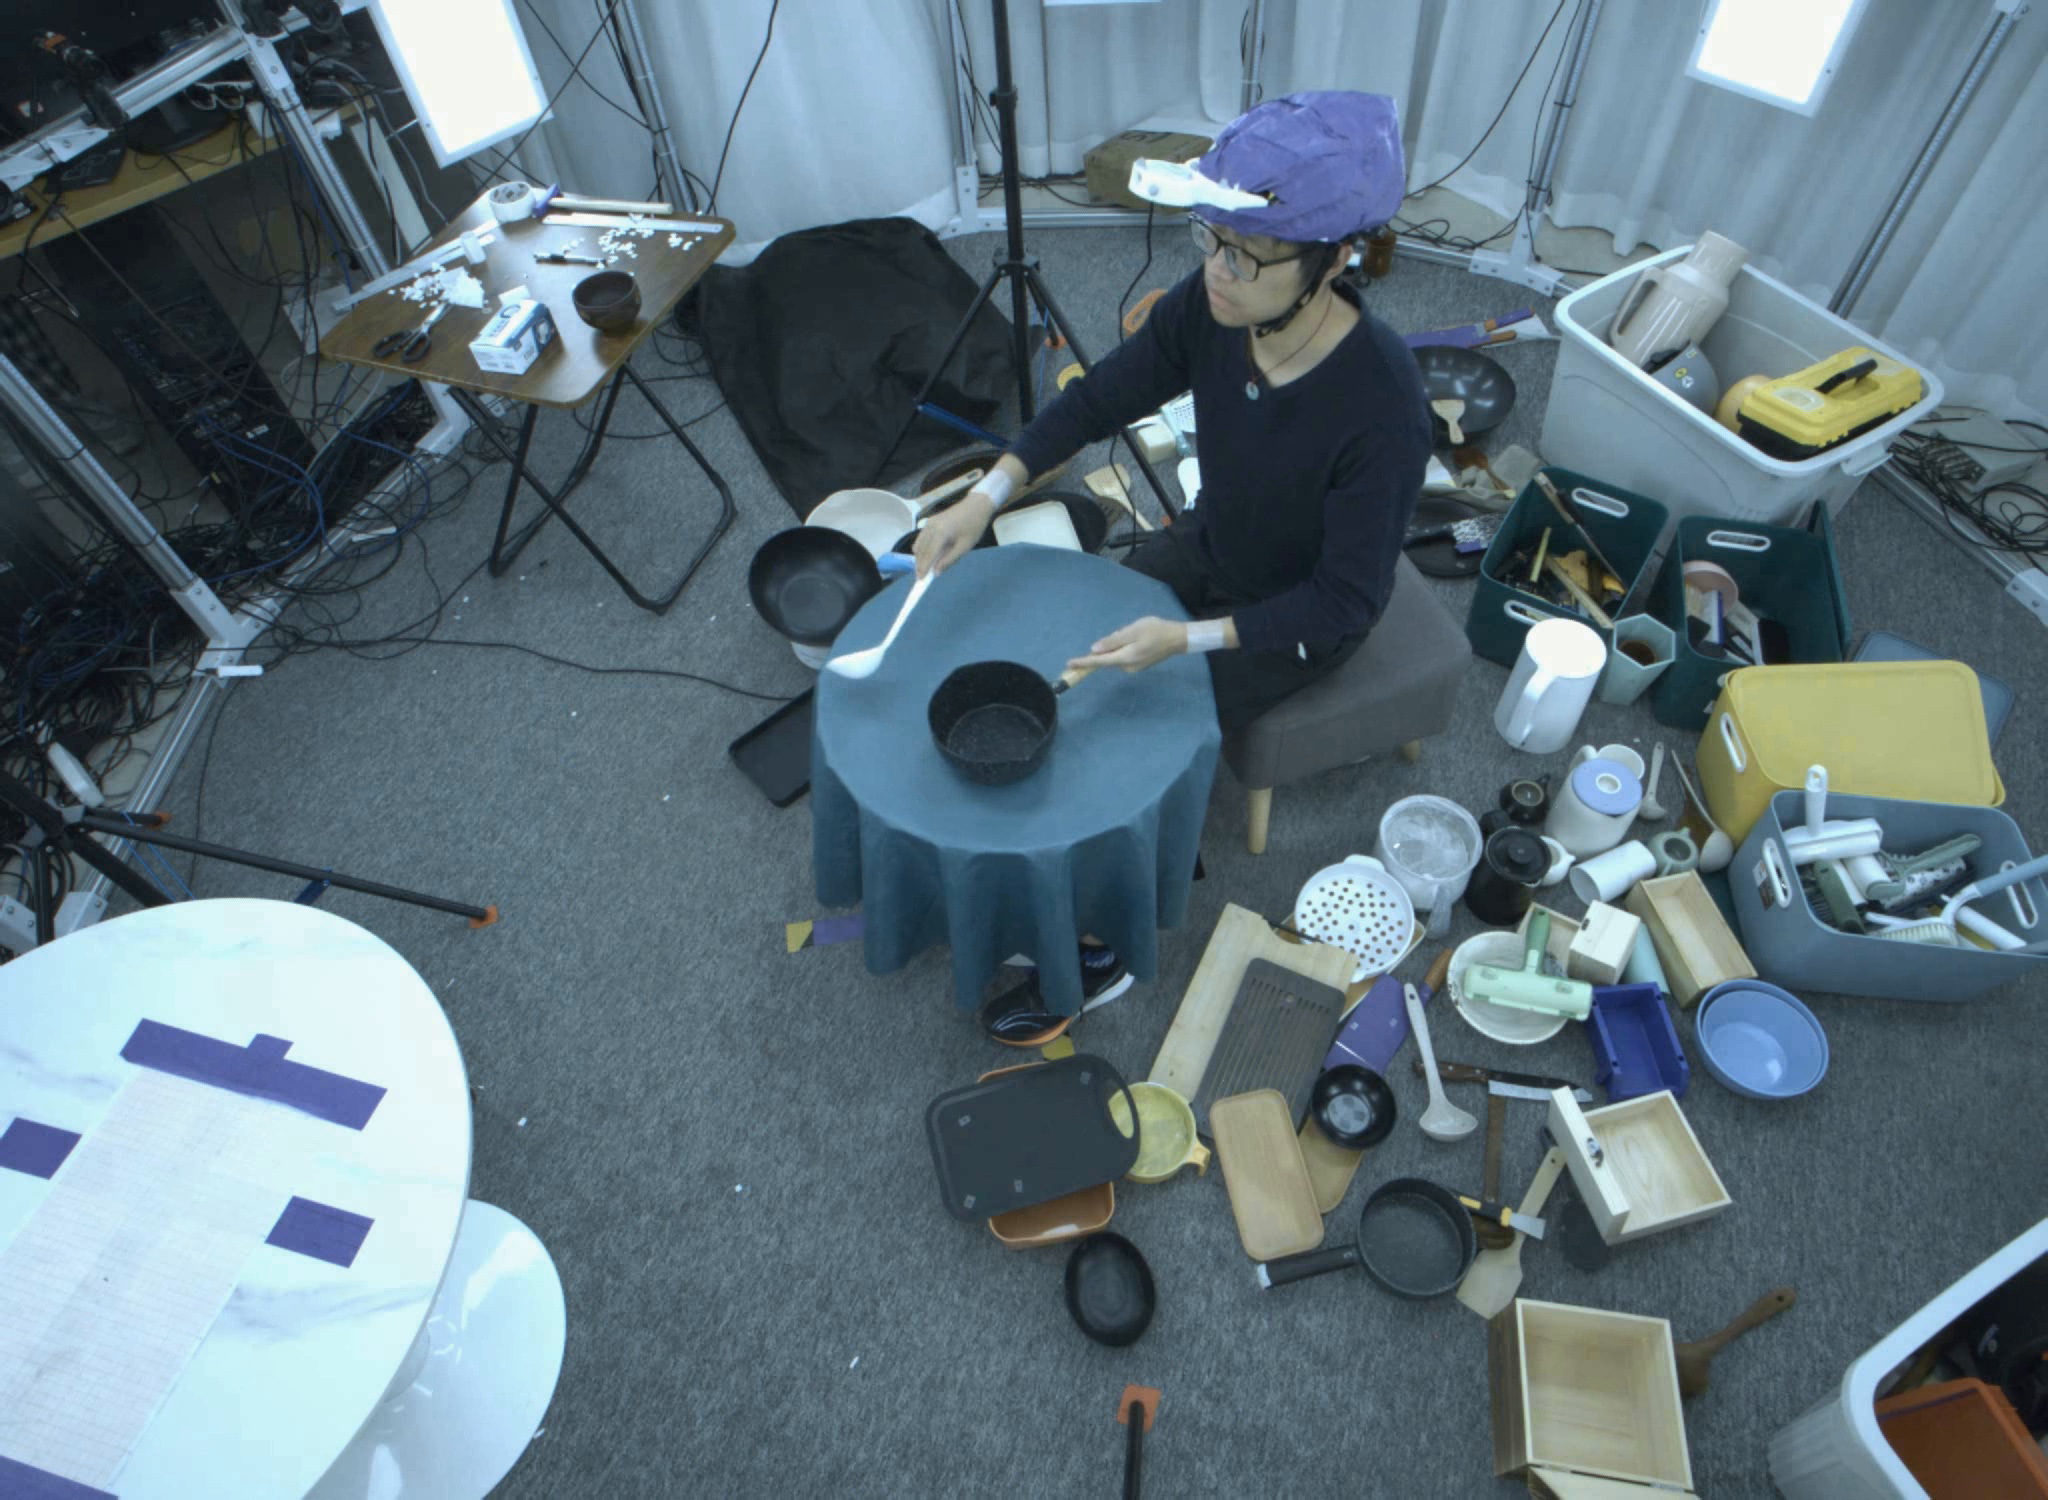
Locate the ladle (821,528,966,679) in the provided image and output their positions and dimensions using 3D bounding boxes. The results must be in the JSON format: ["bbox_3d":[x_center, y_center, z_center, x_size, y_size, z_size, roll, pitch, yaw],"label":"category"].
[{"bbox_3d":[-0.194,-0.224,1.832,0.071,0.089,0.293,38,76,-19],"label":"ladle"}]

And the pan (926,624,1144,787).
[{"bbox_3d":[0.024,-0.075,1.773,0.345,0.109,0.203,-28,57,-15],"label":"pan"}]
